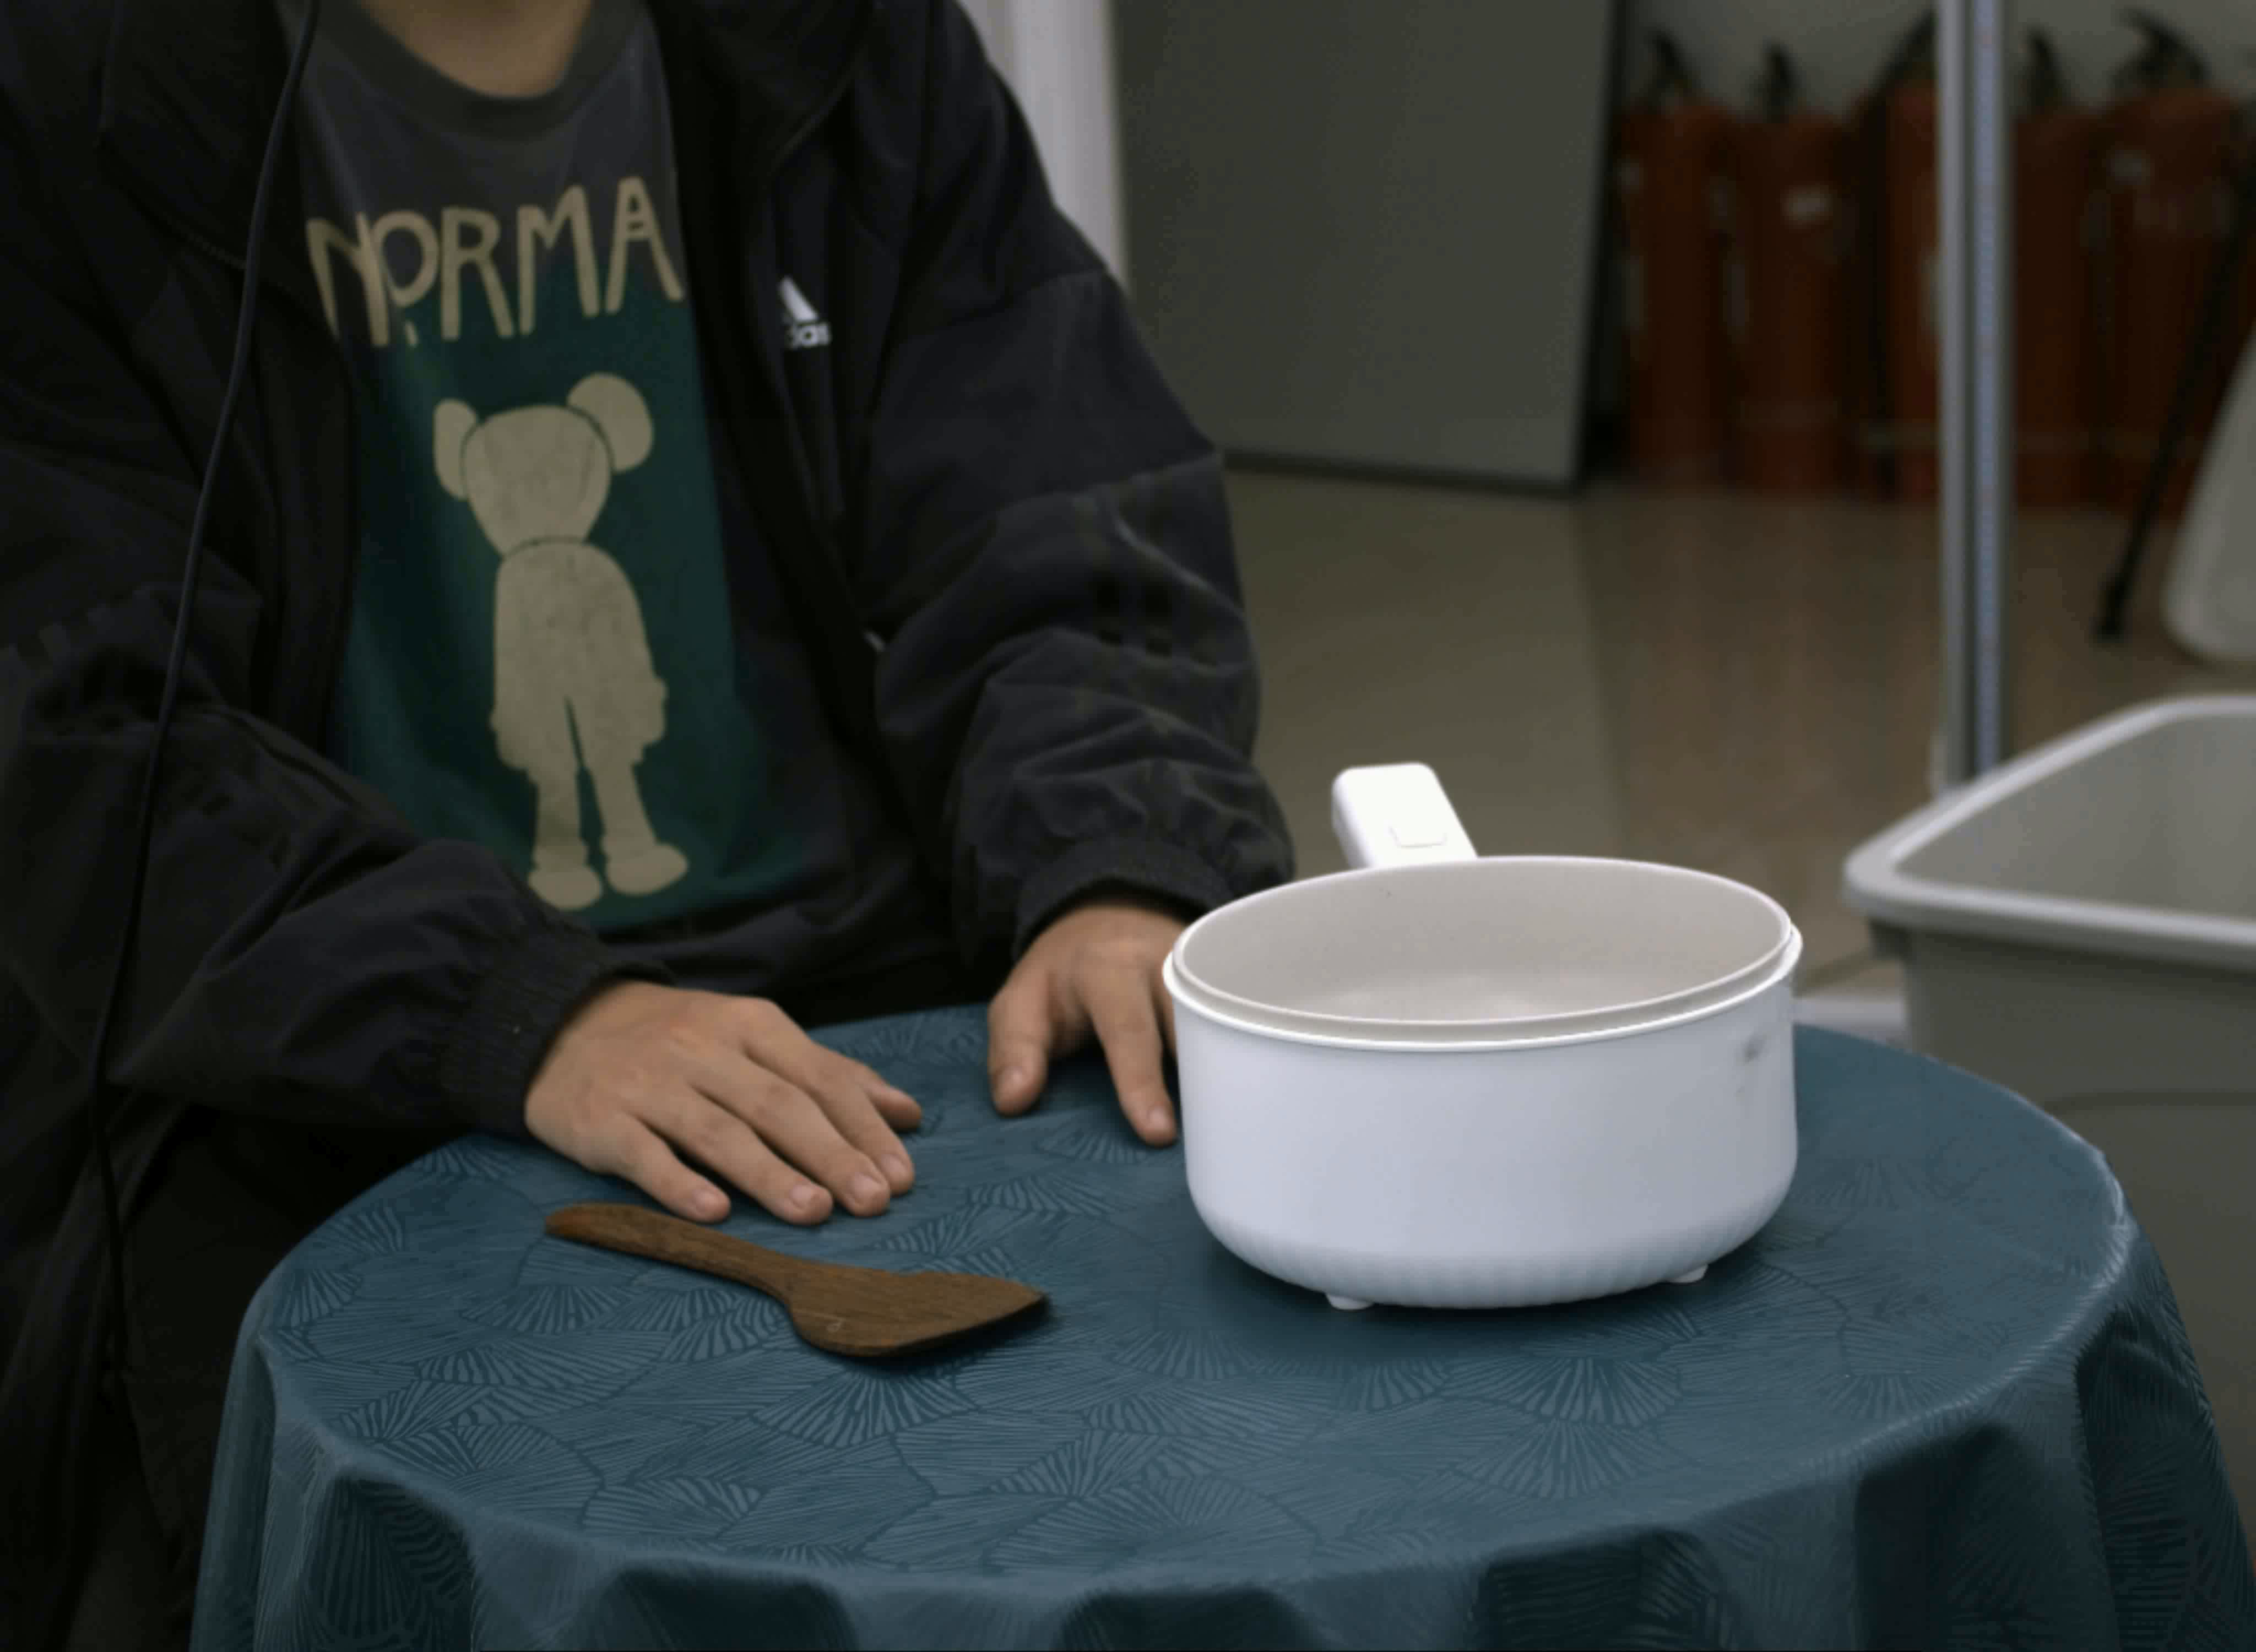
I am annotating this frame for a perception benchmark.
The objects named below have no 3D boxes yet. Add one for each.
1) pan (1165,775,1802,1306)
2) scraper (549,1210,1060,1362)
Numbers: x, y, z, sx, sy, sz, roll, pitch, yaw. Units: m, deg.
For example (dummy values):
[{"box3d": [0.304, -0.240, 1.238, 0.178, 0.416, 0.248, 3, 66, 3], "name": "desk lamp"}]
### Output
[{"box3d": [0.108, 0.066, 1.763, 0.198, 0.103, 0.356, -5, 12, -2], "name": "pan"}, {"box3d": [-0.112, 0.143, 1.706, 0.074, 0.011, 0.213, -15, 16, -40], "name": "scraper"}]
